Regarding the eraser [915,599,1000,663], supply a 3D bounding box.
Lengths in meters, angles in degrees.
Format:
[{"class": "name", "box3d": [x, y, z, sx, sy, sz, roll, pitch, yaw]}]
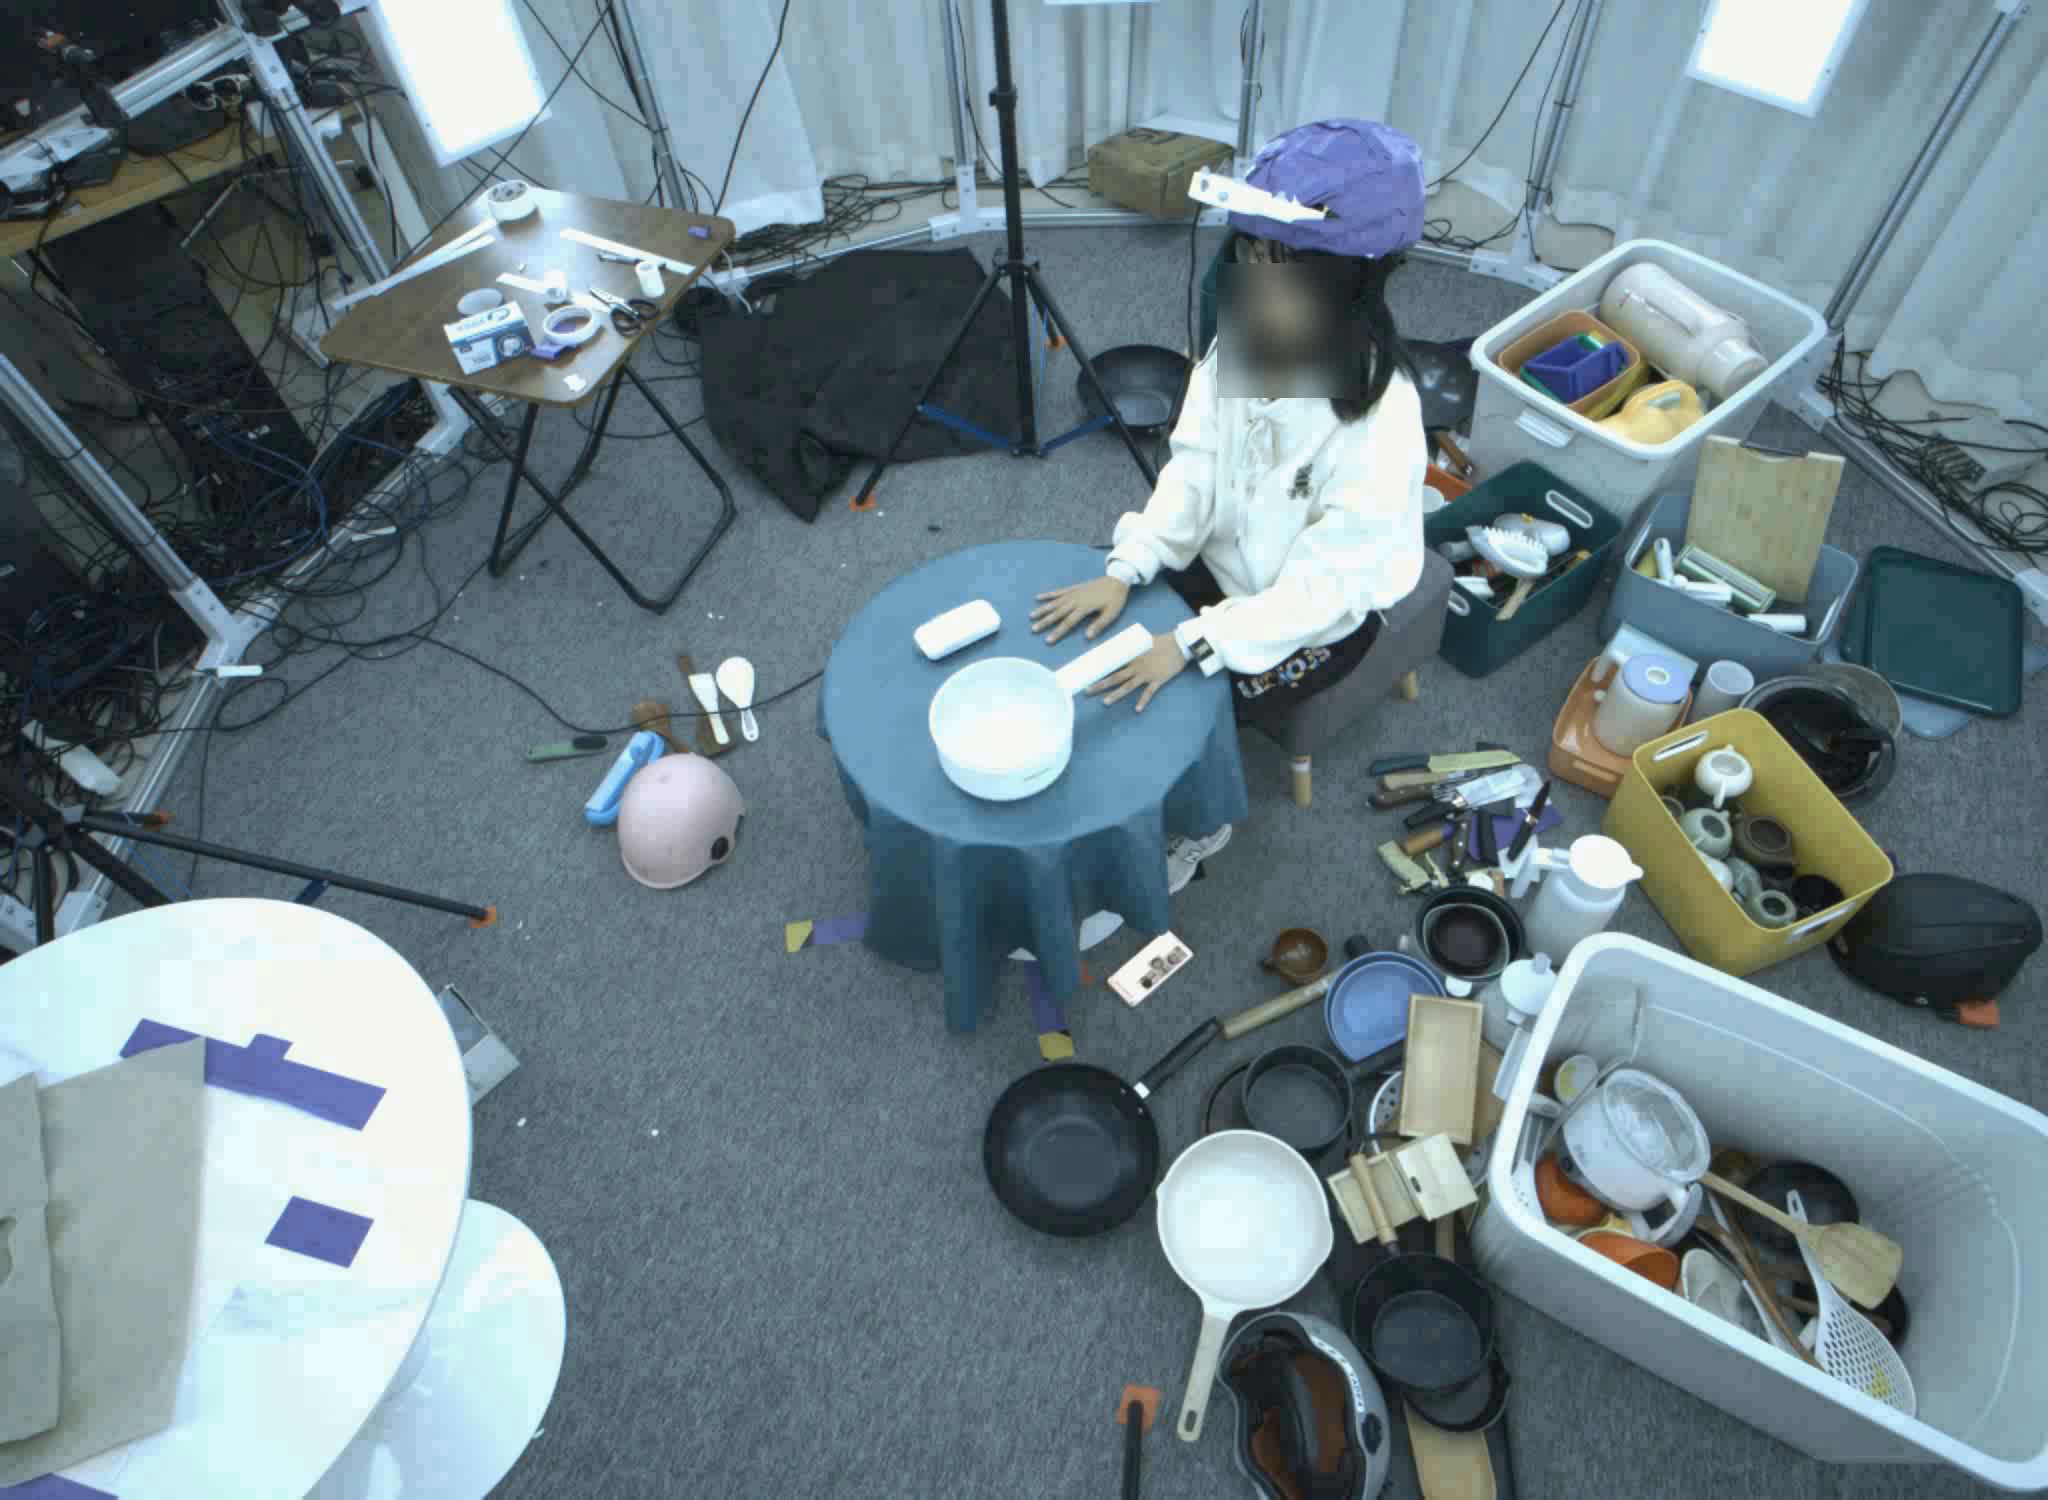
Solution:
[{"class": "eraser", "box3d": [-0.102, -0.185, 1.904, 0.132, 0.035, 0.062, -28, 61, -16]}]

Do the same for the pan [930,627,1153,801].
[{"class": "pan", "box3d": [0.033, -0.061, 1.770, 0.358, 0.103, 0.197, -31, 60, -21]}]
